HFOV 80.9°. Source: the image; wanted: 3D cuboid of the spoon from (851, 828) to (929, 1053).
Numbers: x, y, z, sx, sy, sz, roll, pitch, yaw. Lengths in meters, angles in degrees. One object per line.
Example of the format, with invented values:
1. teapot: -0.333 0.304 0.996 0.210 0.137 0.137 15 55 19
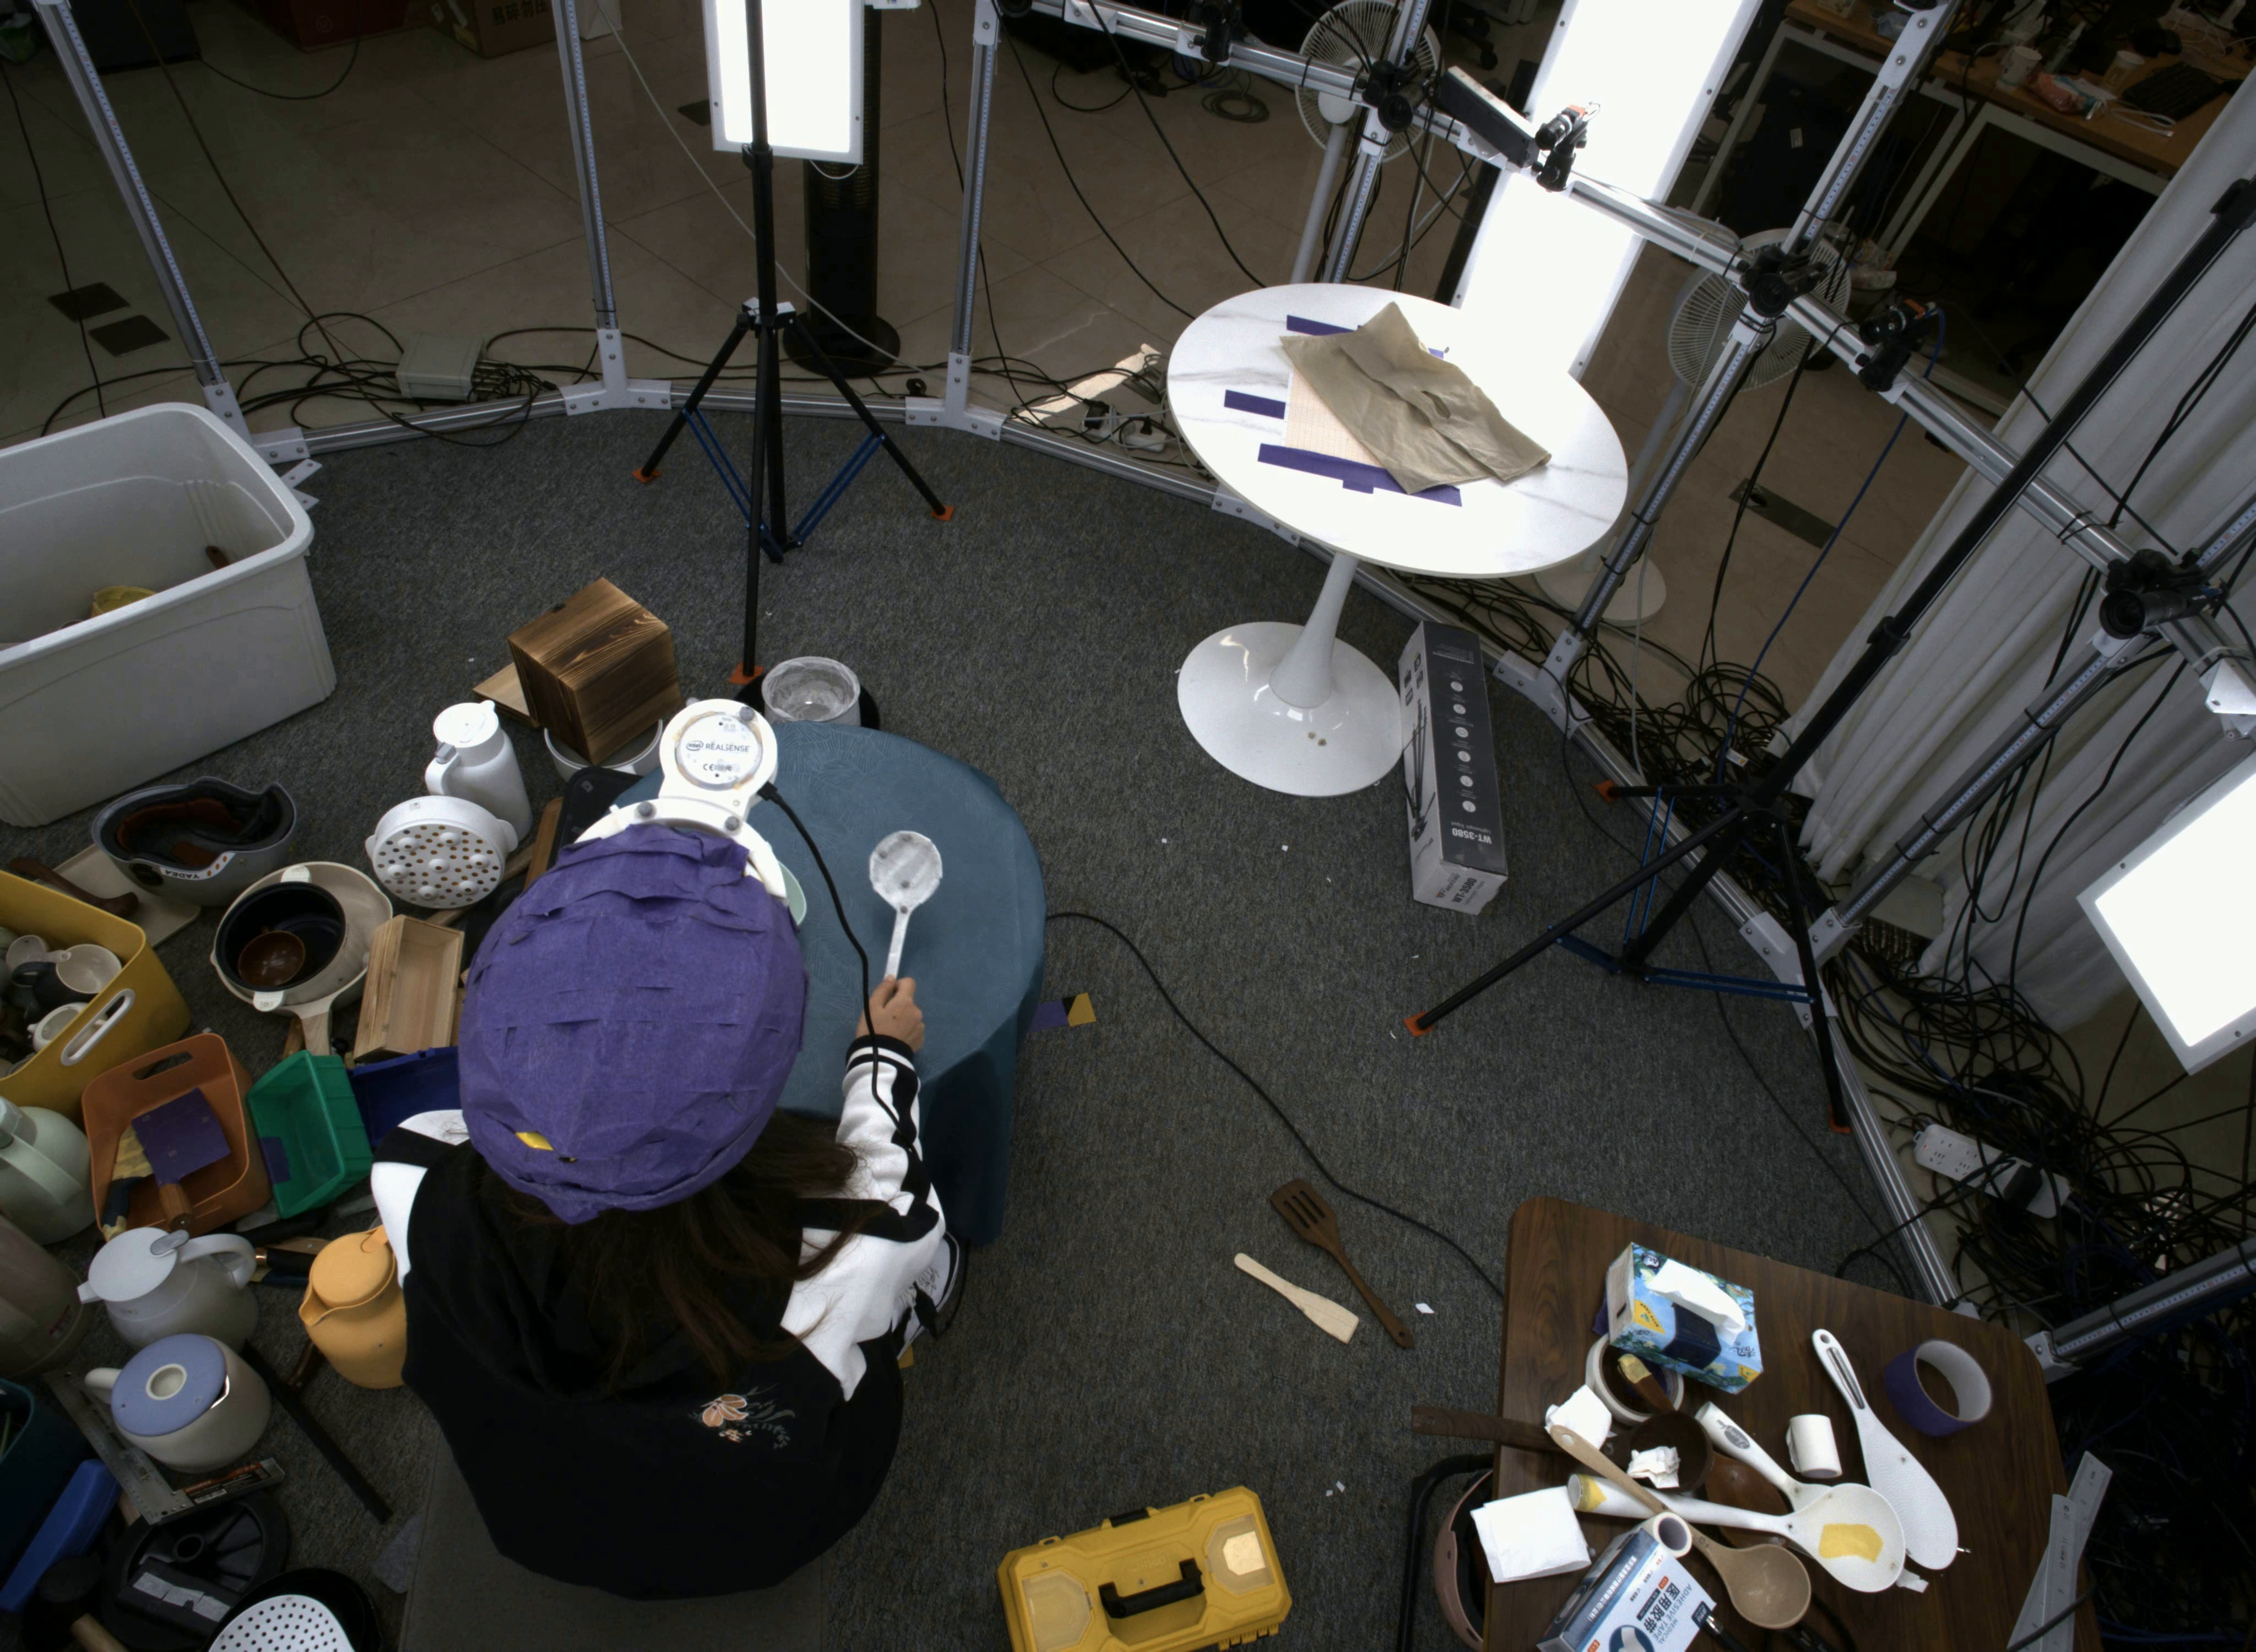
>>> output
1. spoon: -0.303 0.130 1.552 0.098 0.061 0.273 0 55 12

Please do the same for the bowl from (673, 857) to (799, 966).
1. bowl: -0.479 0.112 1.586 0.151 0.060 0.149 8 52 -8
